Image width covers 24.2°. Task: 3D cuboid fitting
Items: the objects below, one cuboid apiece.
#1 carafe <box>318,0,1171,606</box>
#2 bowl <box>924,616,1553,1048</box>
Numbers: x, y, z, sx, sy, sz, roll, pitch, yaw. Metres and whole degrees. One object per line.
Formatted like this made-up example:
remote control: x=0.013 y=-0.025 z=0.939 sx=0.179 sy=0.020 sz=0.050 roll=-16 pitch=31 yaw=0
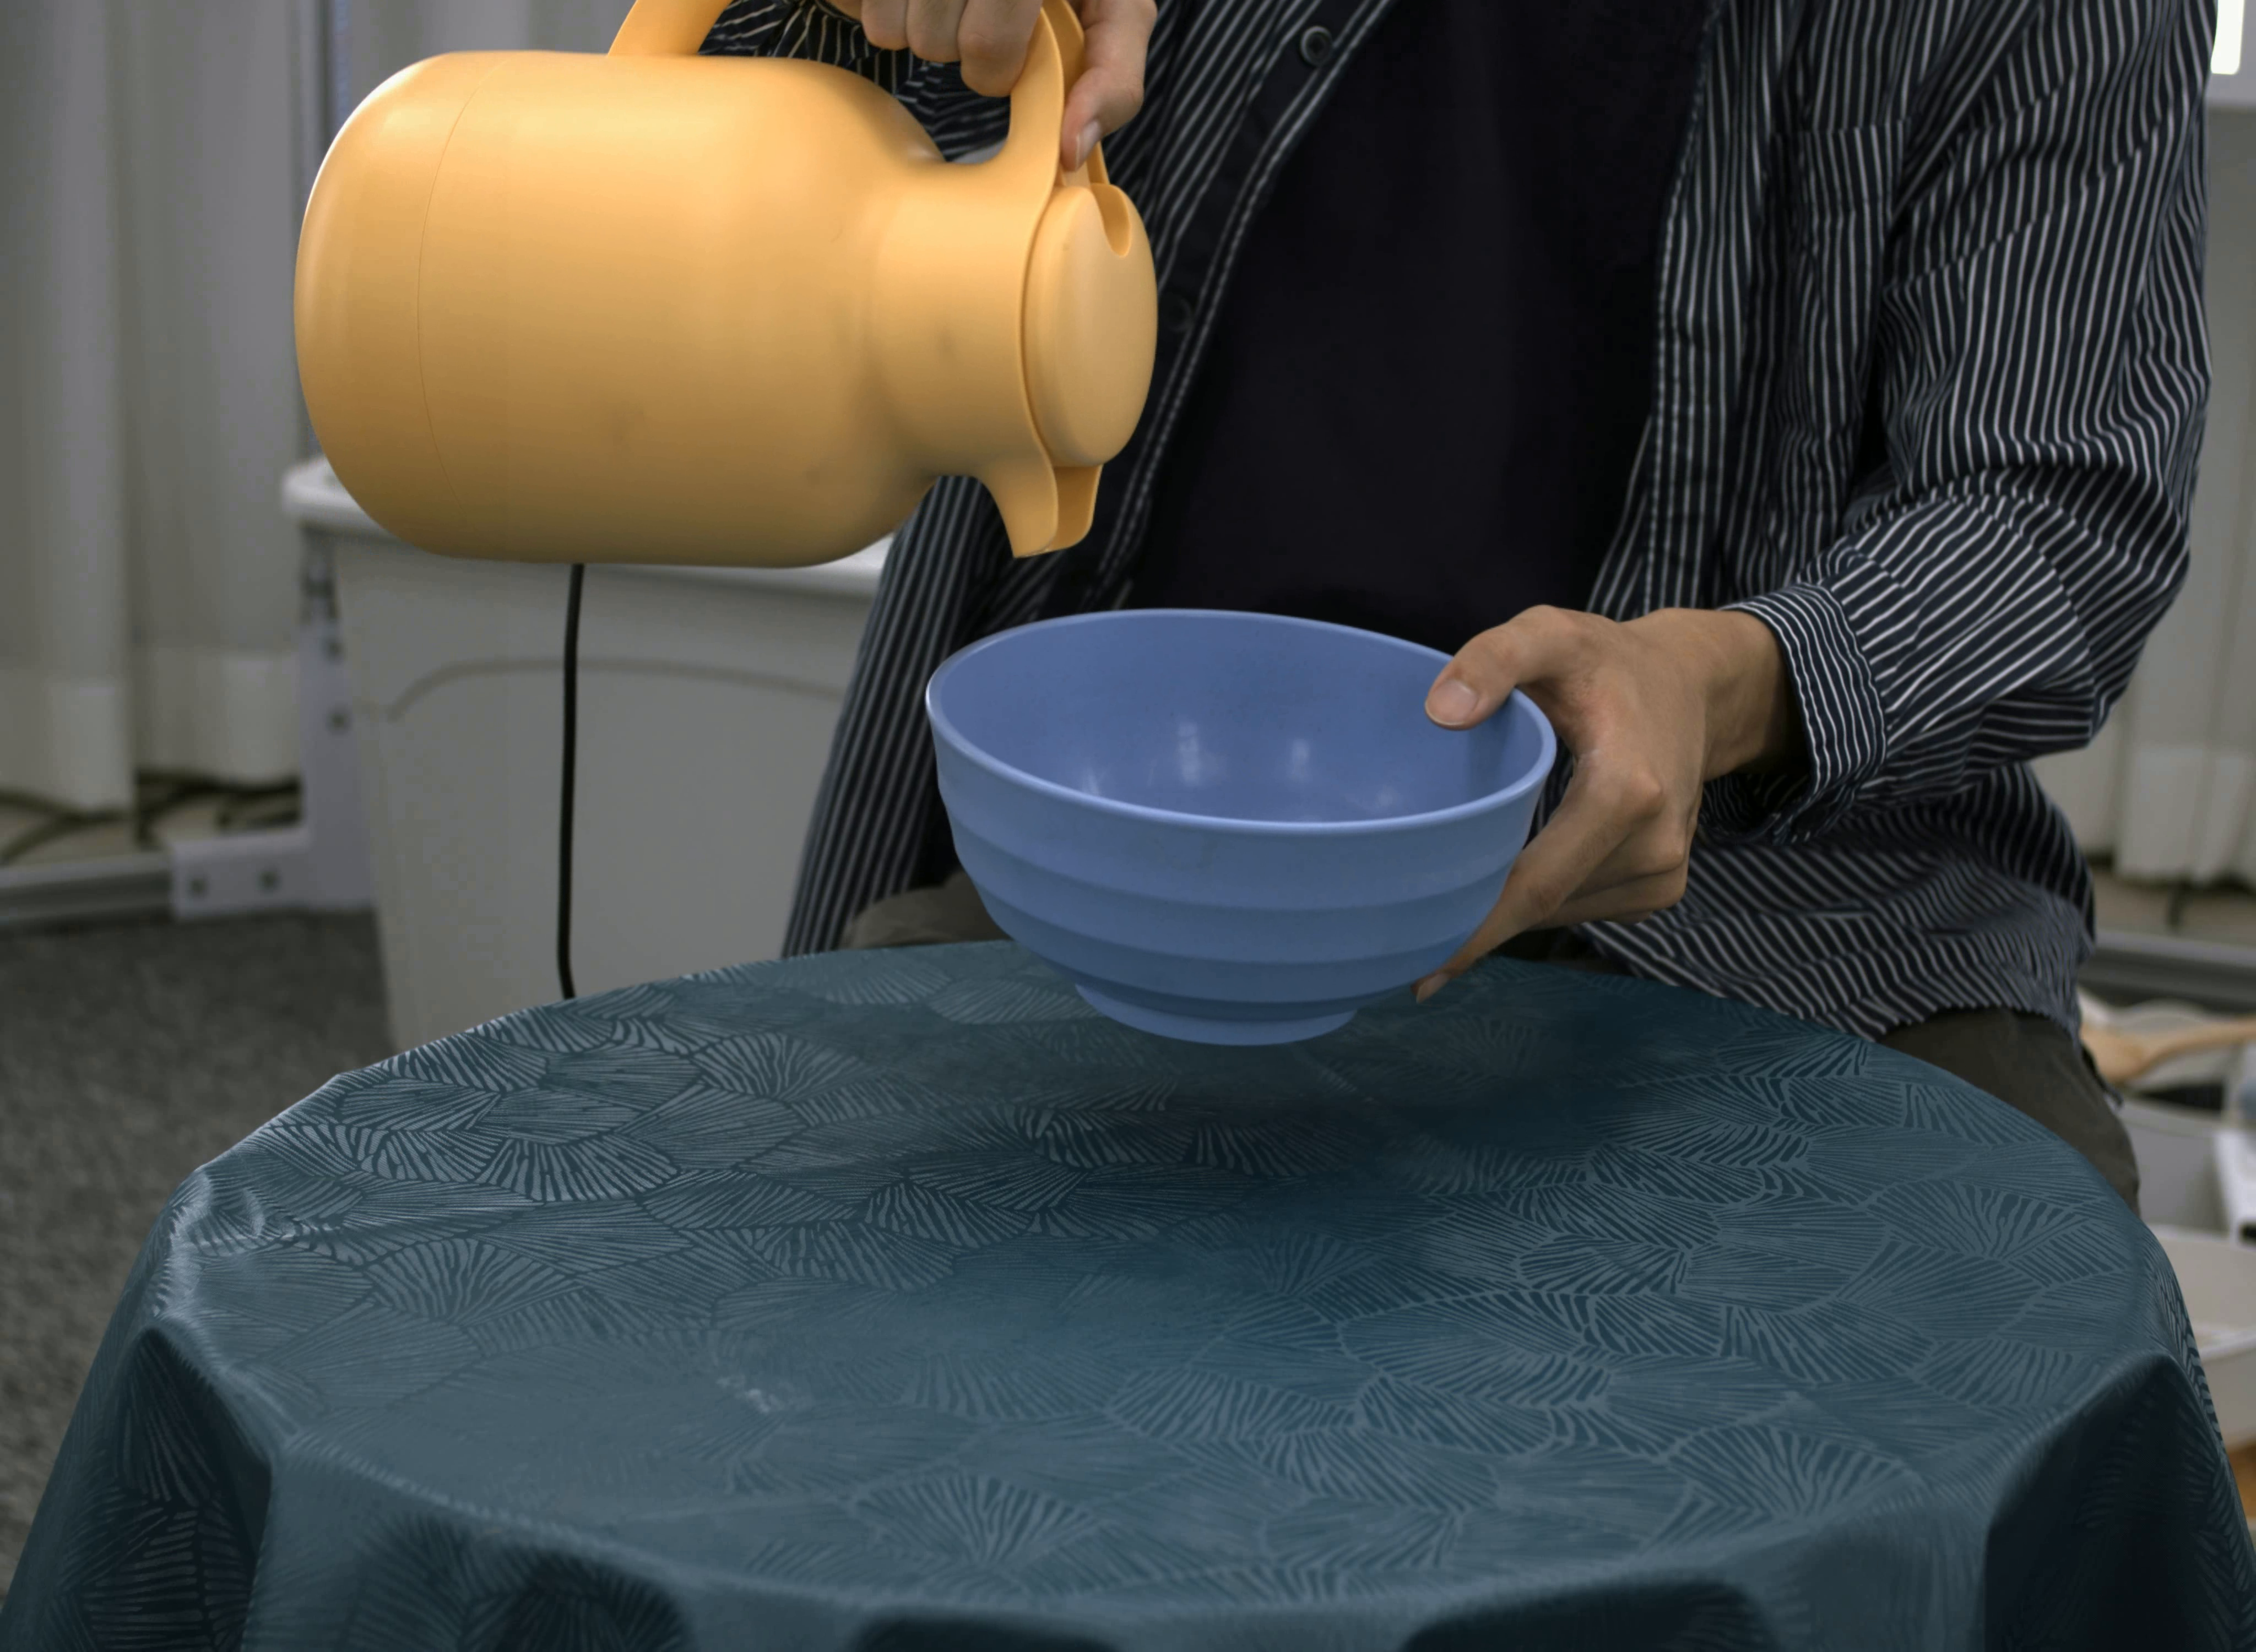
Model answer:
carafe: x=-0.116 y=-0.171 z=1.669 sx=0.258 sy=0.203 sz=0.164 roll=3 pitch=8 yaw=22
bowl: x=0.031 y=0.008 z=1.651 sx=0.196 sy=0.096 sz=0.195 roll=4 pitch=21 yaw=-1
